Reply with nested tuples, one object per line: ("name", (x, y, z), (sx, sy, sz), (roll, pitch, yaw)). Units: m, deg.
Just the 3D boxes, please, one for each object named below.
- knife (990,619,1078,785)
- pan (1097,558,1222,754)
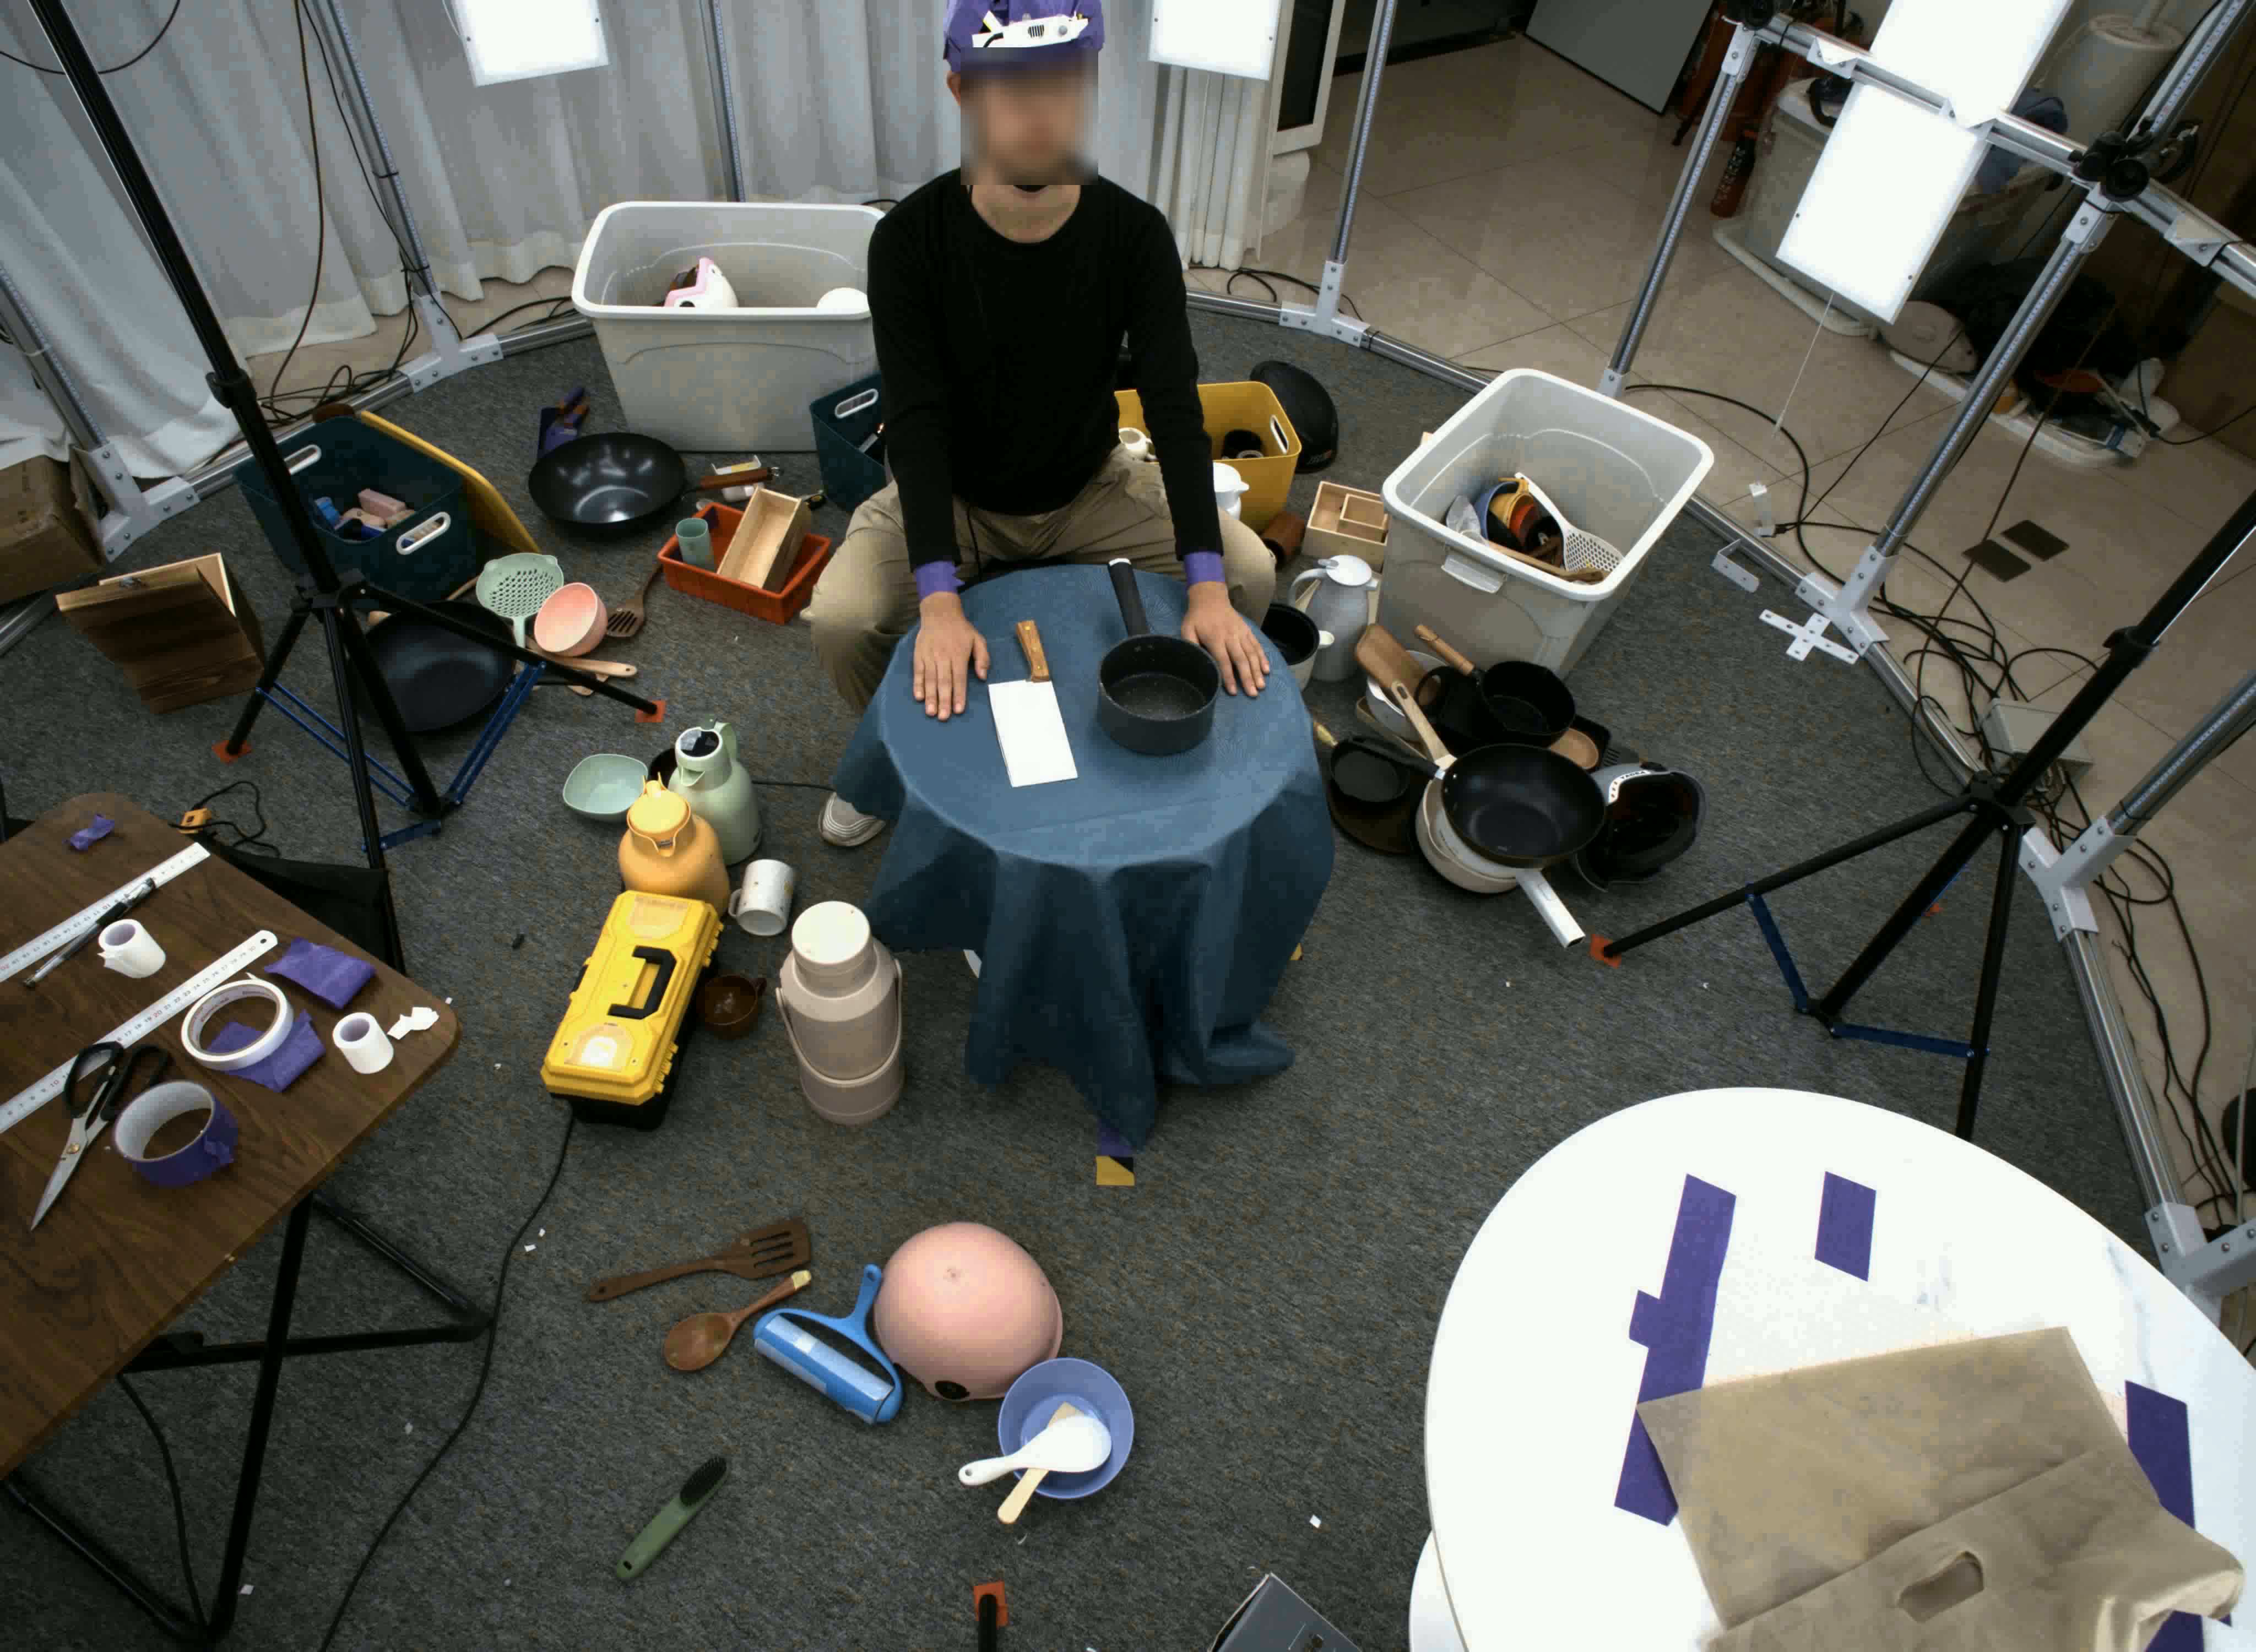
("knife", (-0.143, -0.177, 1.804), (0.093, 0.020, 0.313), (-9, 52, -10))
("pan", (0.026, -0.244, 1.830), (0.172, 0.084, 0.337), (-6, 50, -9))
